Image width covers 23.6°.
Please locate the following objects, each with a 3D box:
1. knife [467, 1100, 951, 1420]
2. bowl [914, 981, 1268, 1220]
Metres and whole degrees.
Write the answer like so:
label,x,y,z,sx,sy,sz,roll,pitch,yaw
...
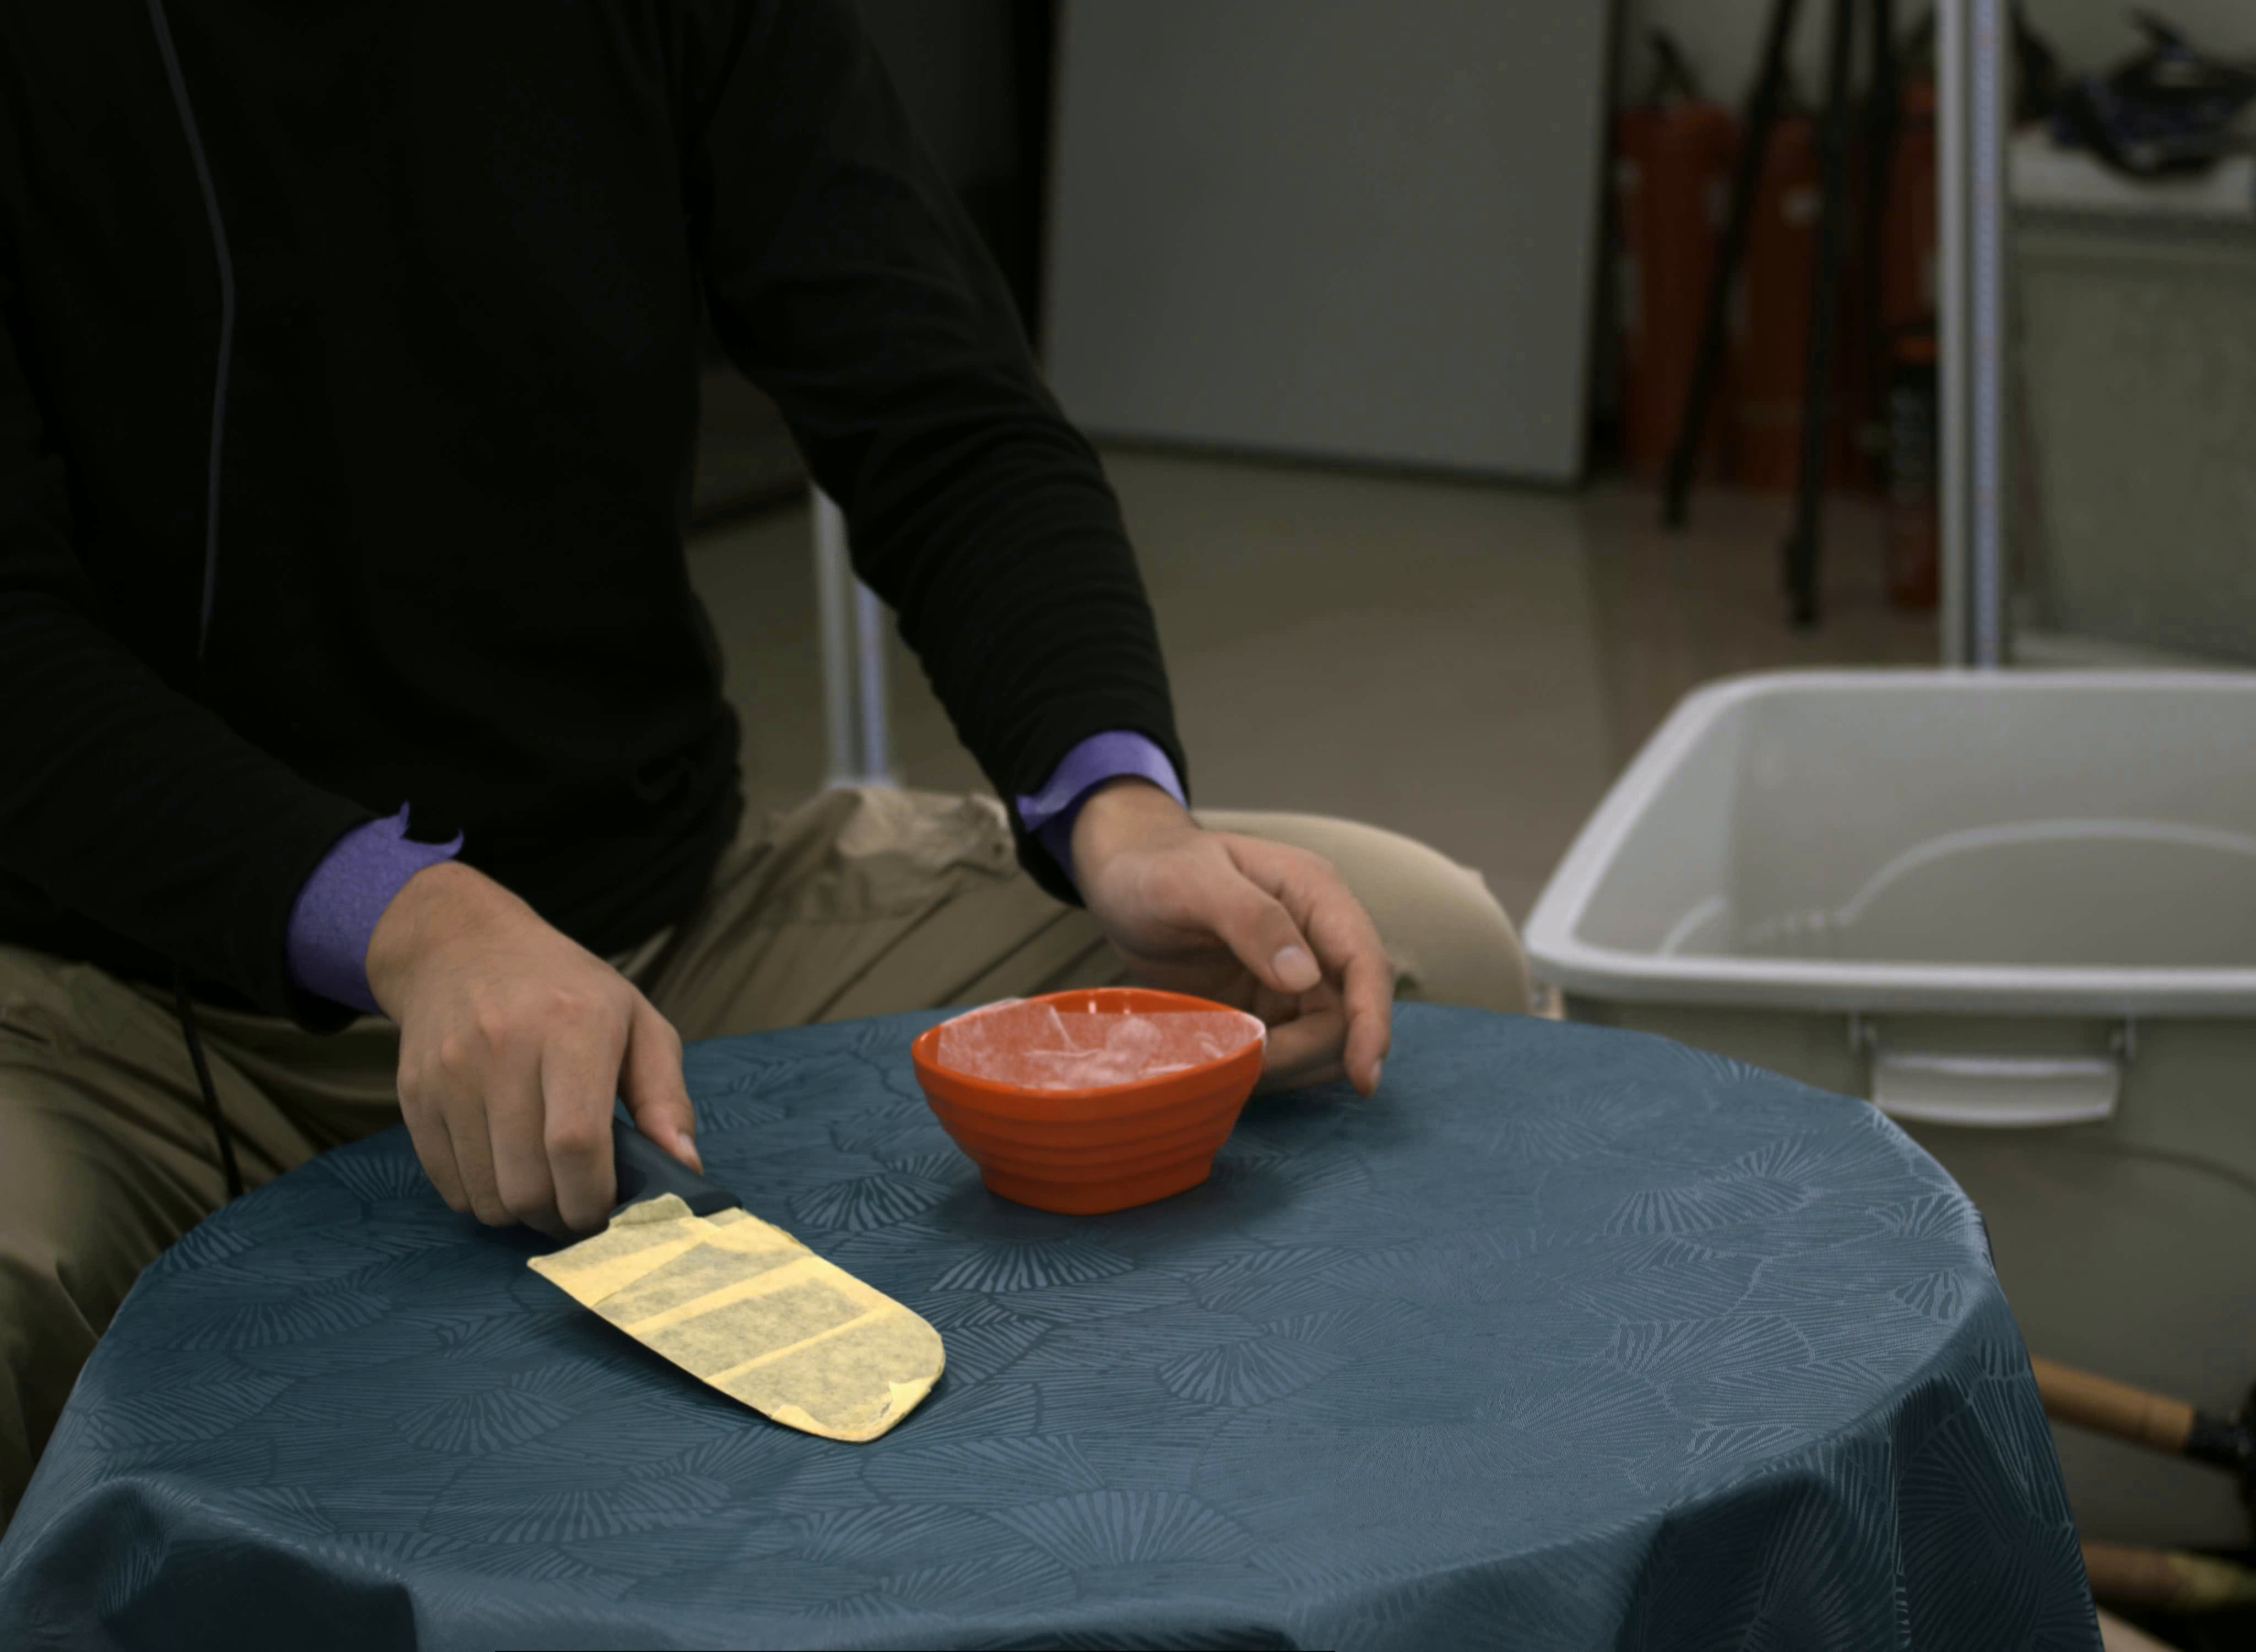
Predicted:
label,x,y,z,sx,sy,sz,roll,pitch,yaw
knife,-0.143,0.136,1.688,0.079,0.027,0.293,-16,22,-29
bowl,-0.011,0.093,1.782,0.117,0.052,0.119,-5,16,0
